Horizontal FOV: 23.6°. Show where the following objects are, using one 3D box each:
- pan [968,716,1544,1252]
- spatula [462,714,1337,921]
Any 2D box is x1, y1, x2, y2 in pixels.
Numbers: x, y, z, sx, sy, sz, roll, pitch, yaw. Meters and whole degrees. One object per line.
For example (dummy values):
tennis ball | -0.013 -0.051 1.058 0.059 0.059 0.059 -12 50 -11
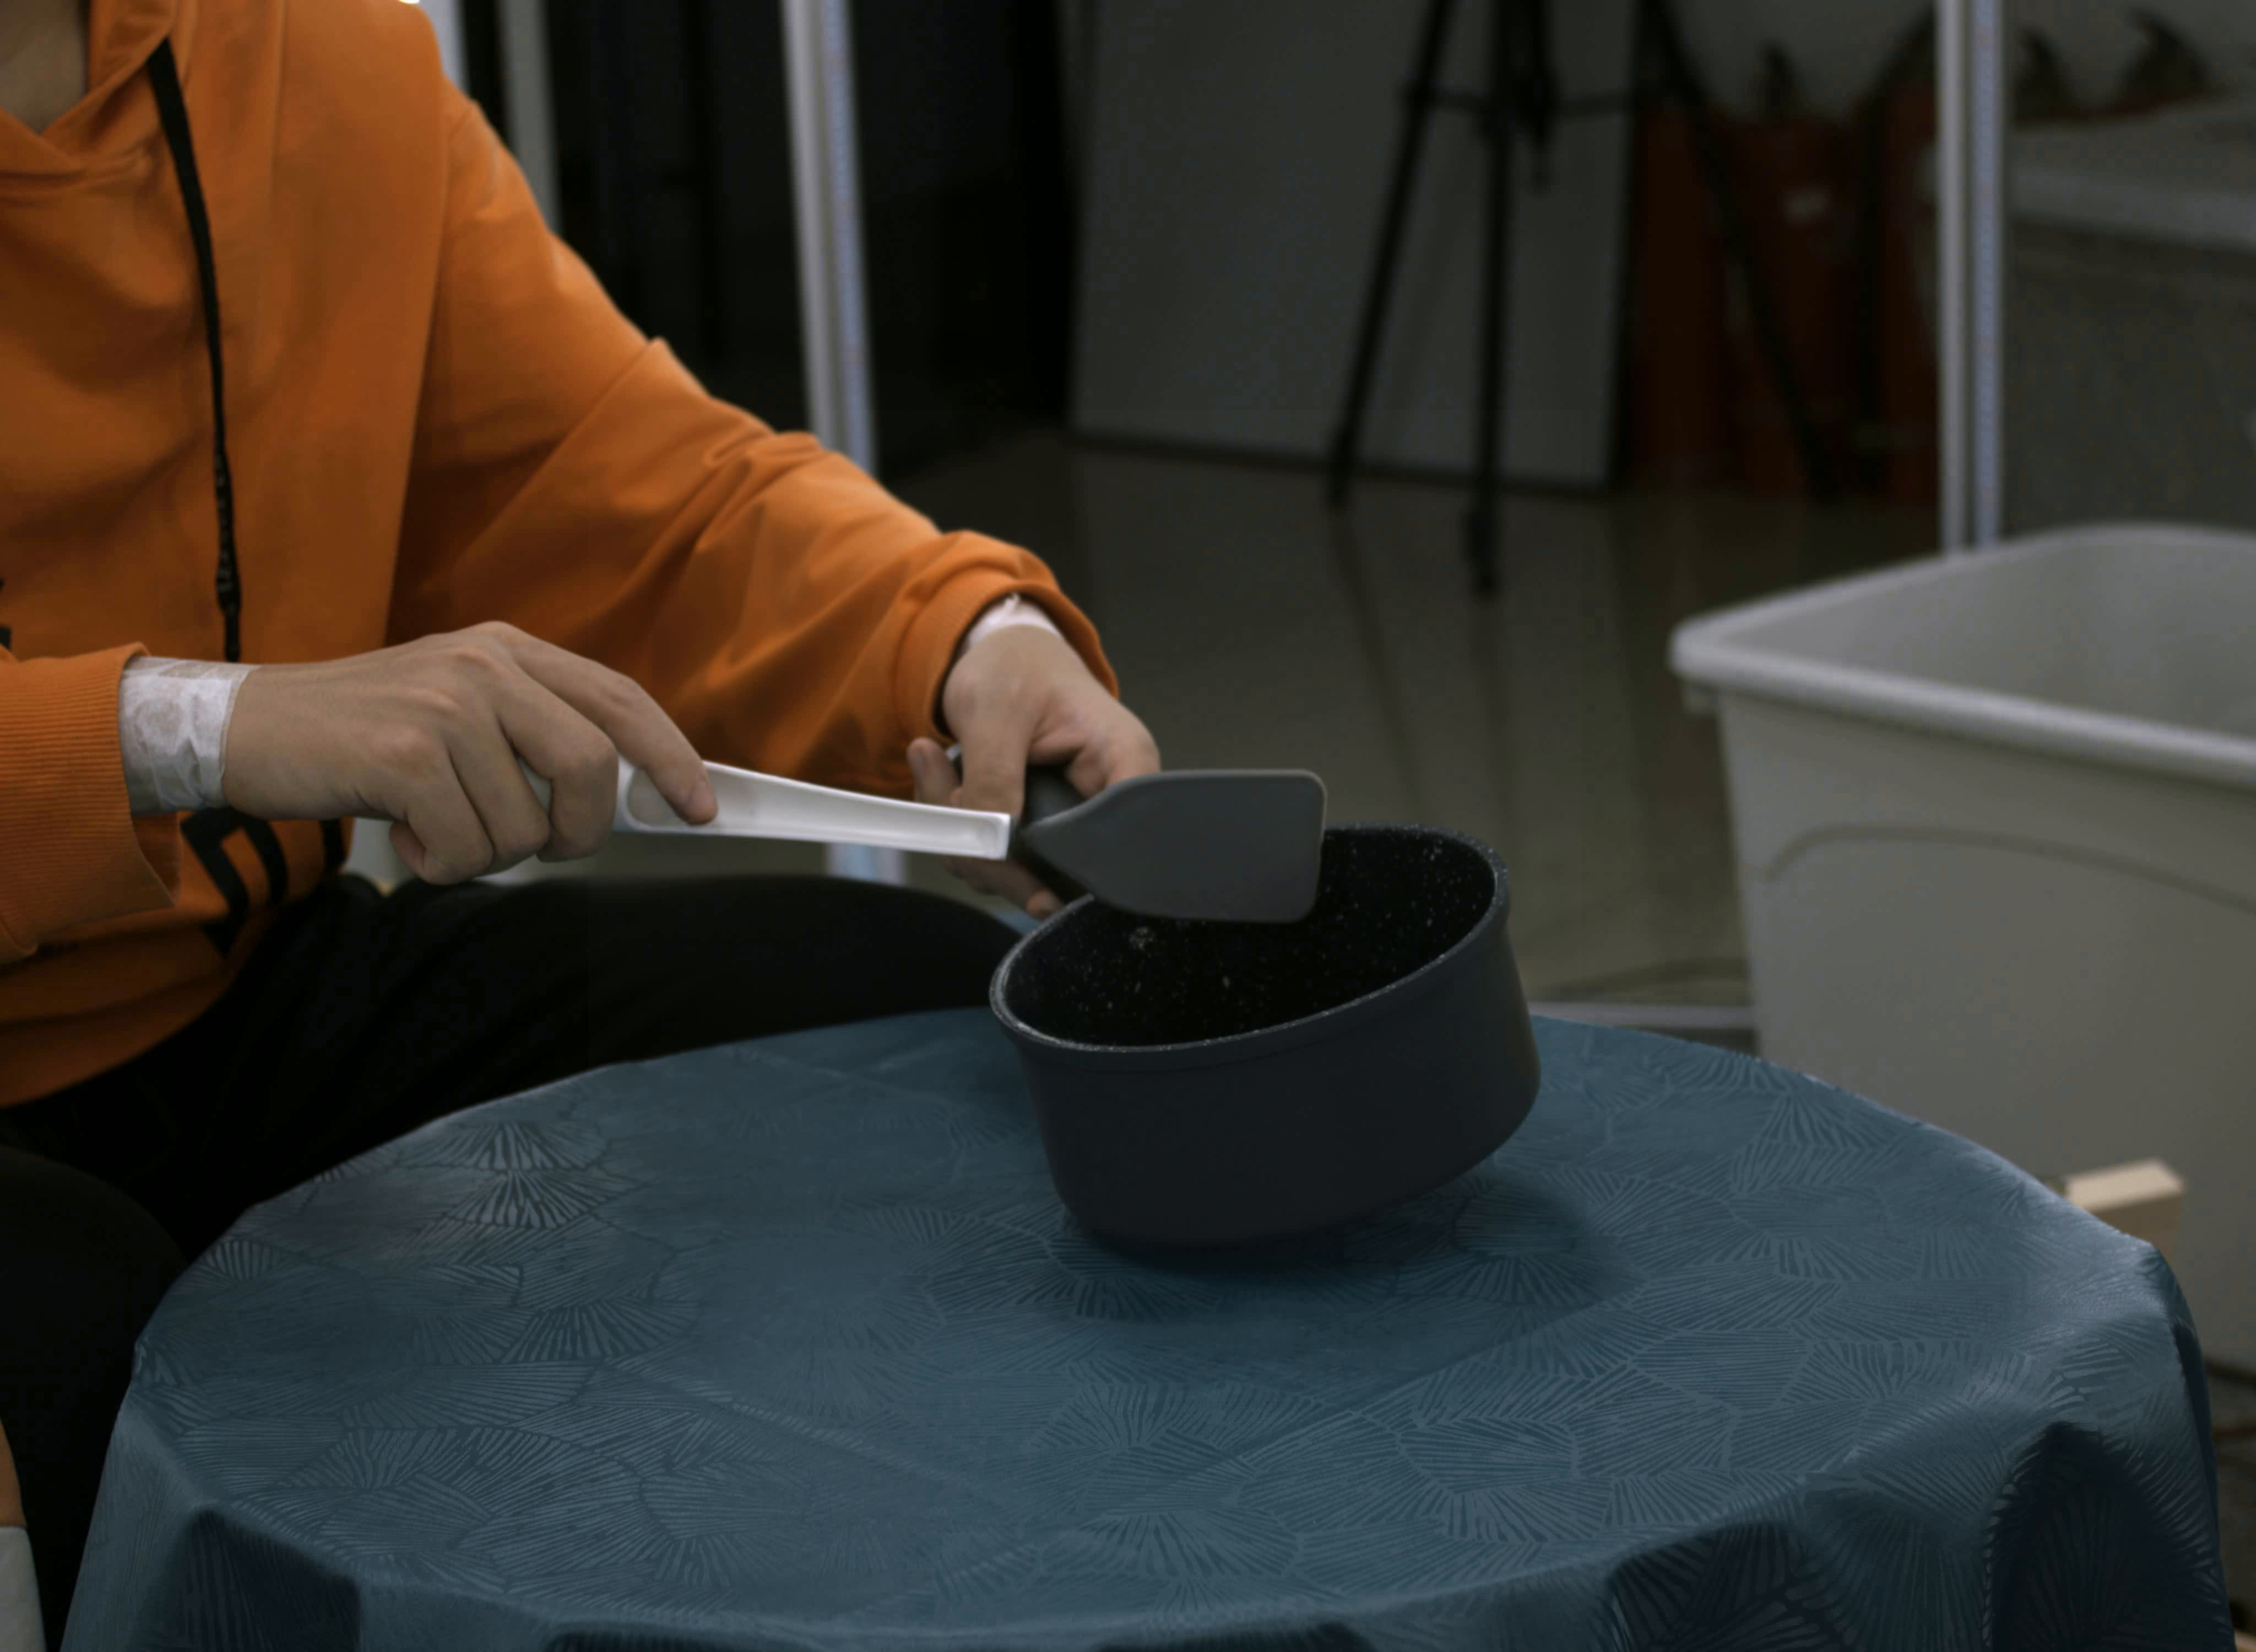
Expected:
pan | 0.019 0.045 1.796 0.169 0.087 0.332 -20 21 -15
spatula | -0.073 -0.006 1.757 0.283 0.059 0.032 5 8 -2
